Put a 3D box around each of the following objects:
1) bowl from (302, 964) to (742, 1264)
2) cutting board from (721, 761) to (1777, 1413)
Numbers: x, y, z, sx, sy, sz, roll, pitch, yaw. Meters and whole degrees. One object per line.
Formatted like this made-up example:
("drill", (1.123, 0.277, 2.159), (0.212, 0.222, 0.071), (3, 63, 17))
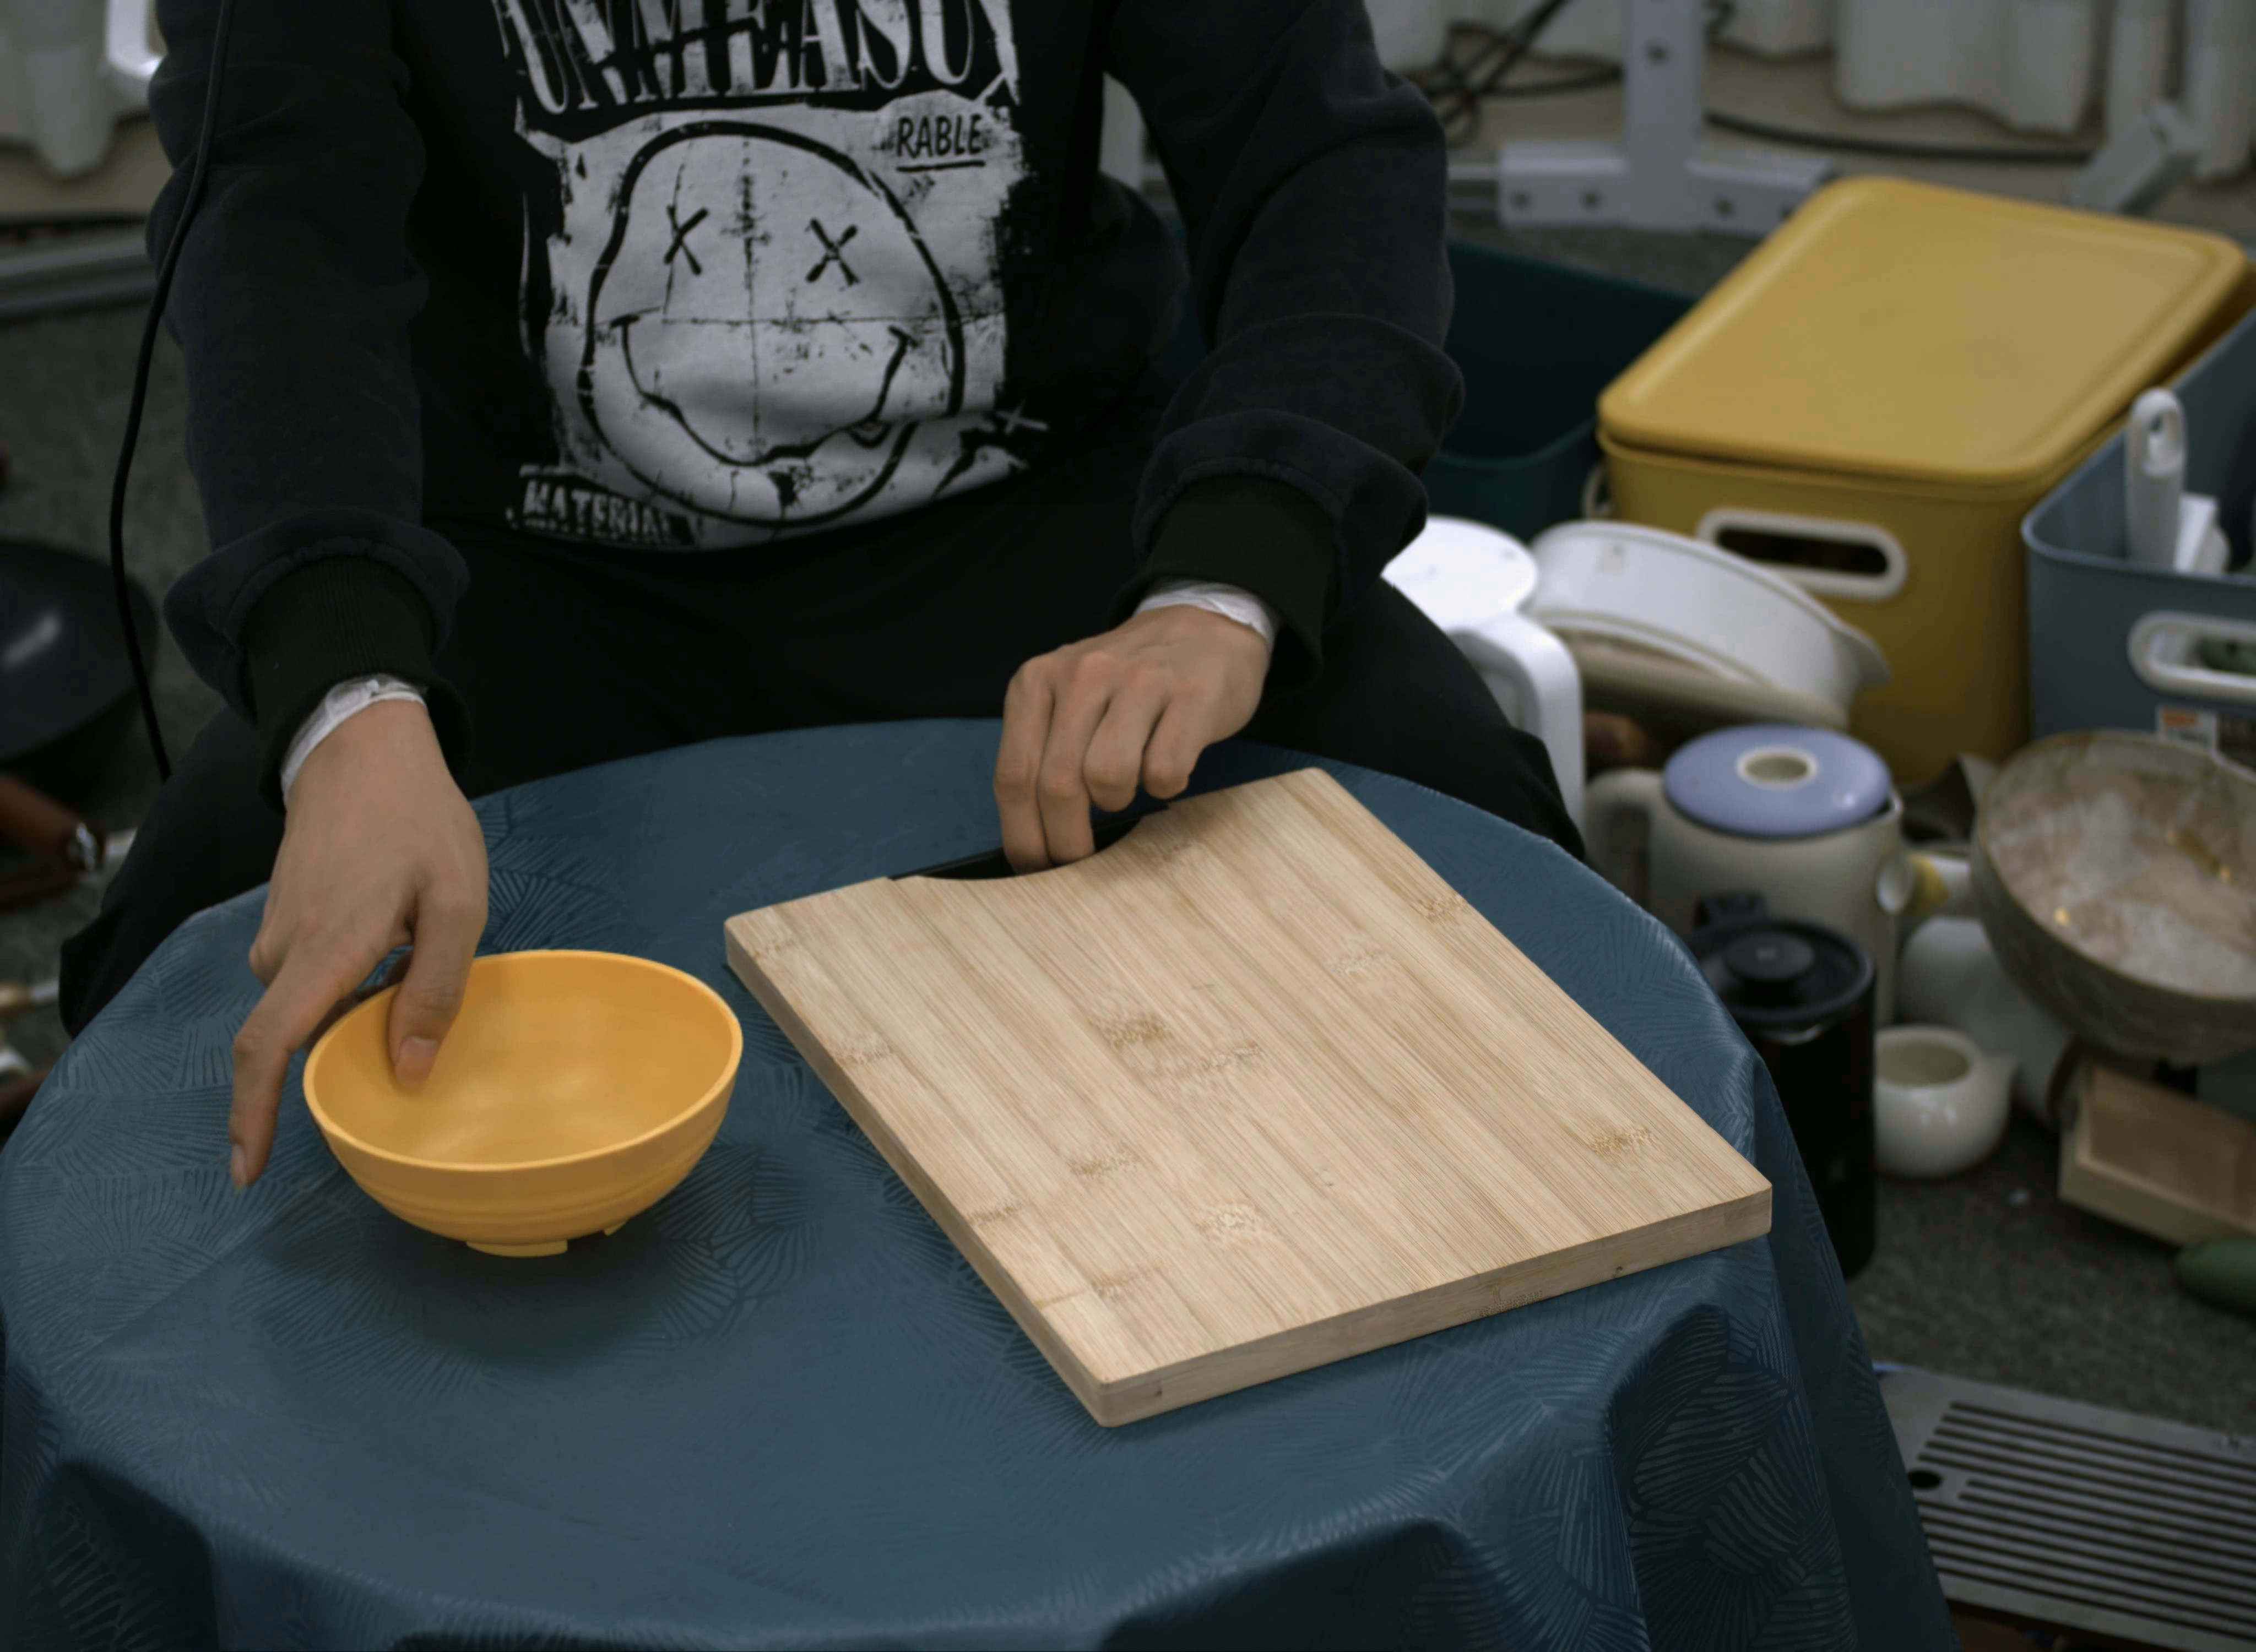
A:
("bowl", (-0.198, 0.104, 1.856), (0.144, 0.059, 0.147), (-1, 25, 1))
("cutting board", (0.032, 0.081, 1.919), (0.252, 0.023, 0.351), (-14, 29, -21))
